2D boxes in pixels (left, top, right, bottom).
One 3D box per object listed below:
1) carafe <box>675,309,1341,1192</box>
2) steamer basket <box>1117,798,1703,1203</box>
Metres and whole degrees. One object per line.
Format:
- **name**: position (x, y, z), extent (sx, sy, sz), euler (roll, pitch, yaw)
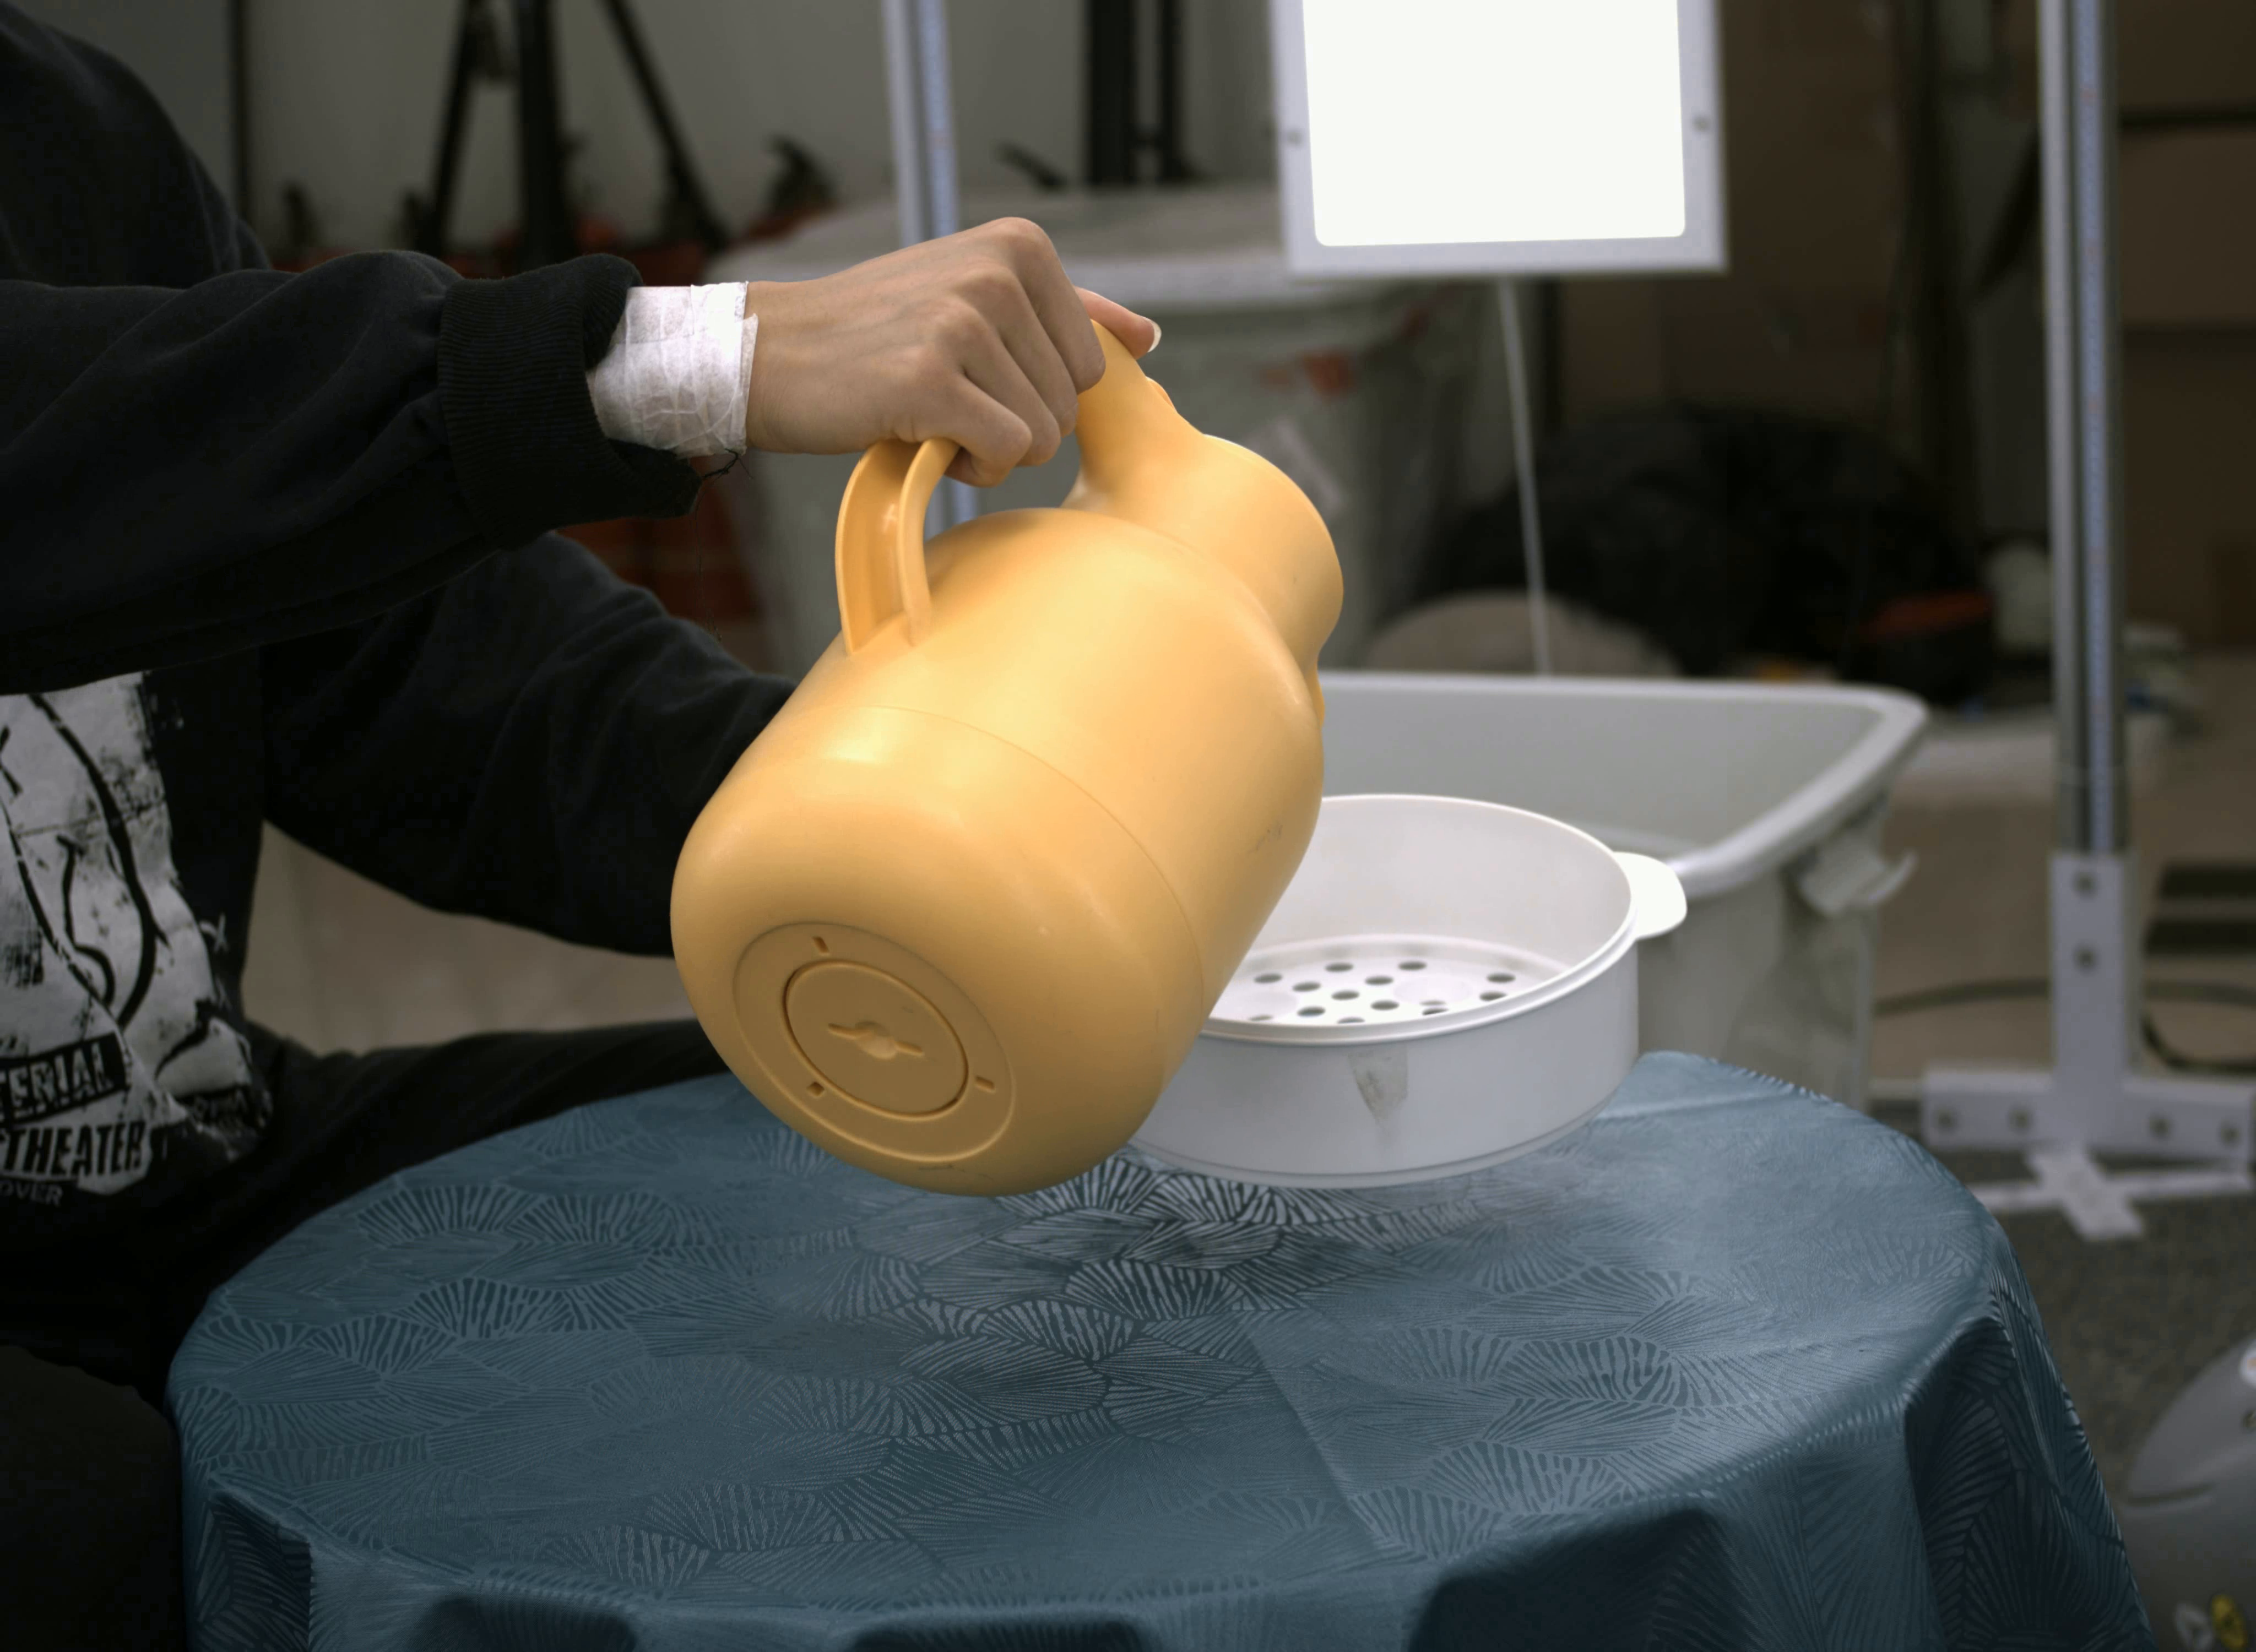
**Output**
- **carafe**: position (-0.032, -0.033, 1.704), extent (0.167, 0.201, 0.256), euler (-12, 31, 37)
- **steamer basket**: position (0.082, 0.059, 1.877), extent (0.230, 0.069, 0.201), euler (-5, 23, 1)
